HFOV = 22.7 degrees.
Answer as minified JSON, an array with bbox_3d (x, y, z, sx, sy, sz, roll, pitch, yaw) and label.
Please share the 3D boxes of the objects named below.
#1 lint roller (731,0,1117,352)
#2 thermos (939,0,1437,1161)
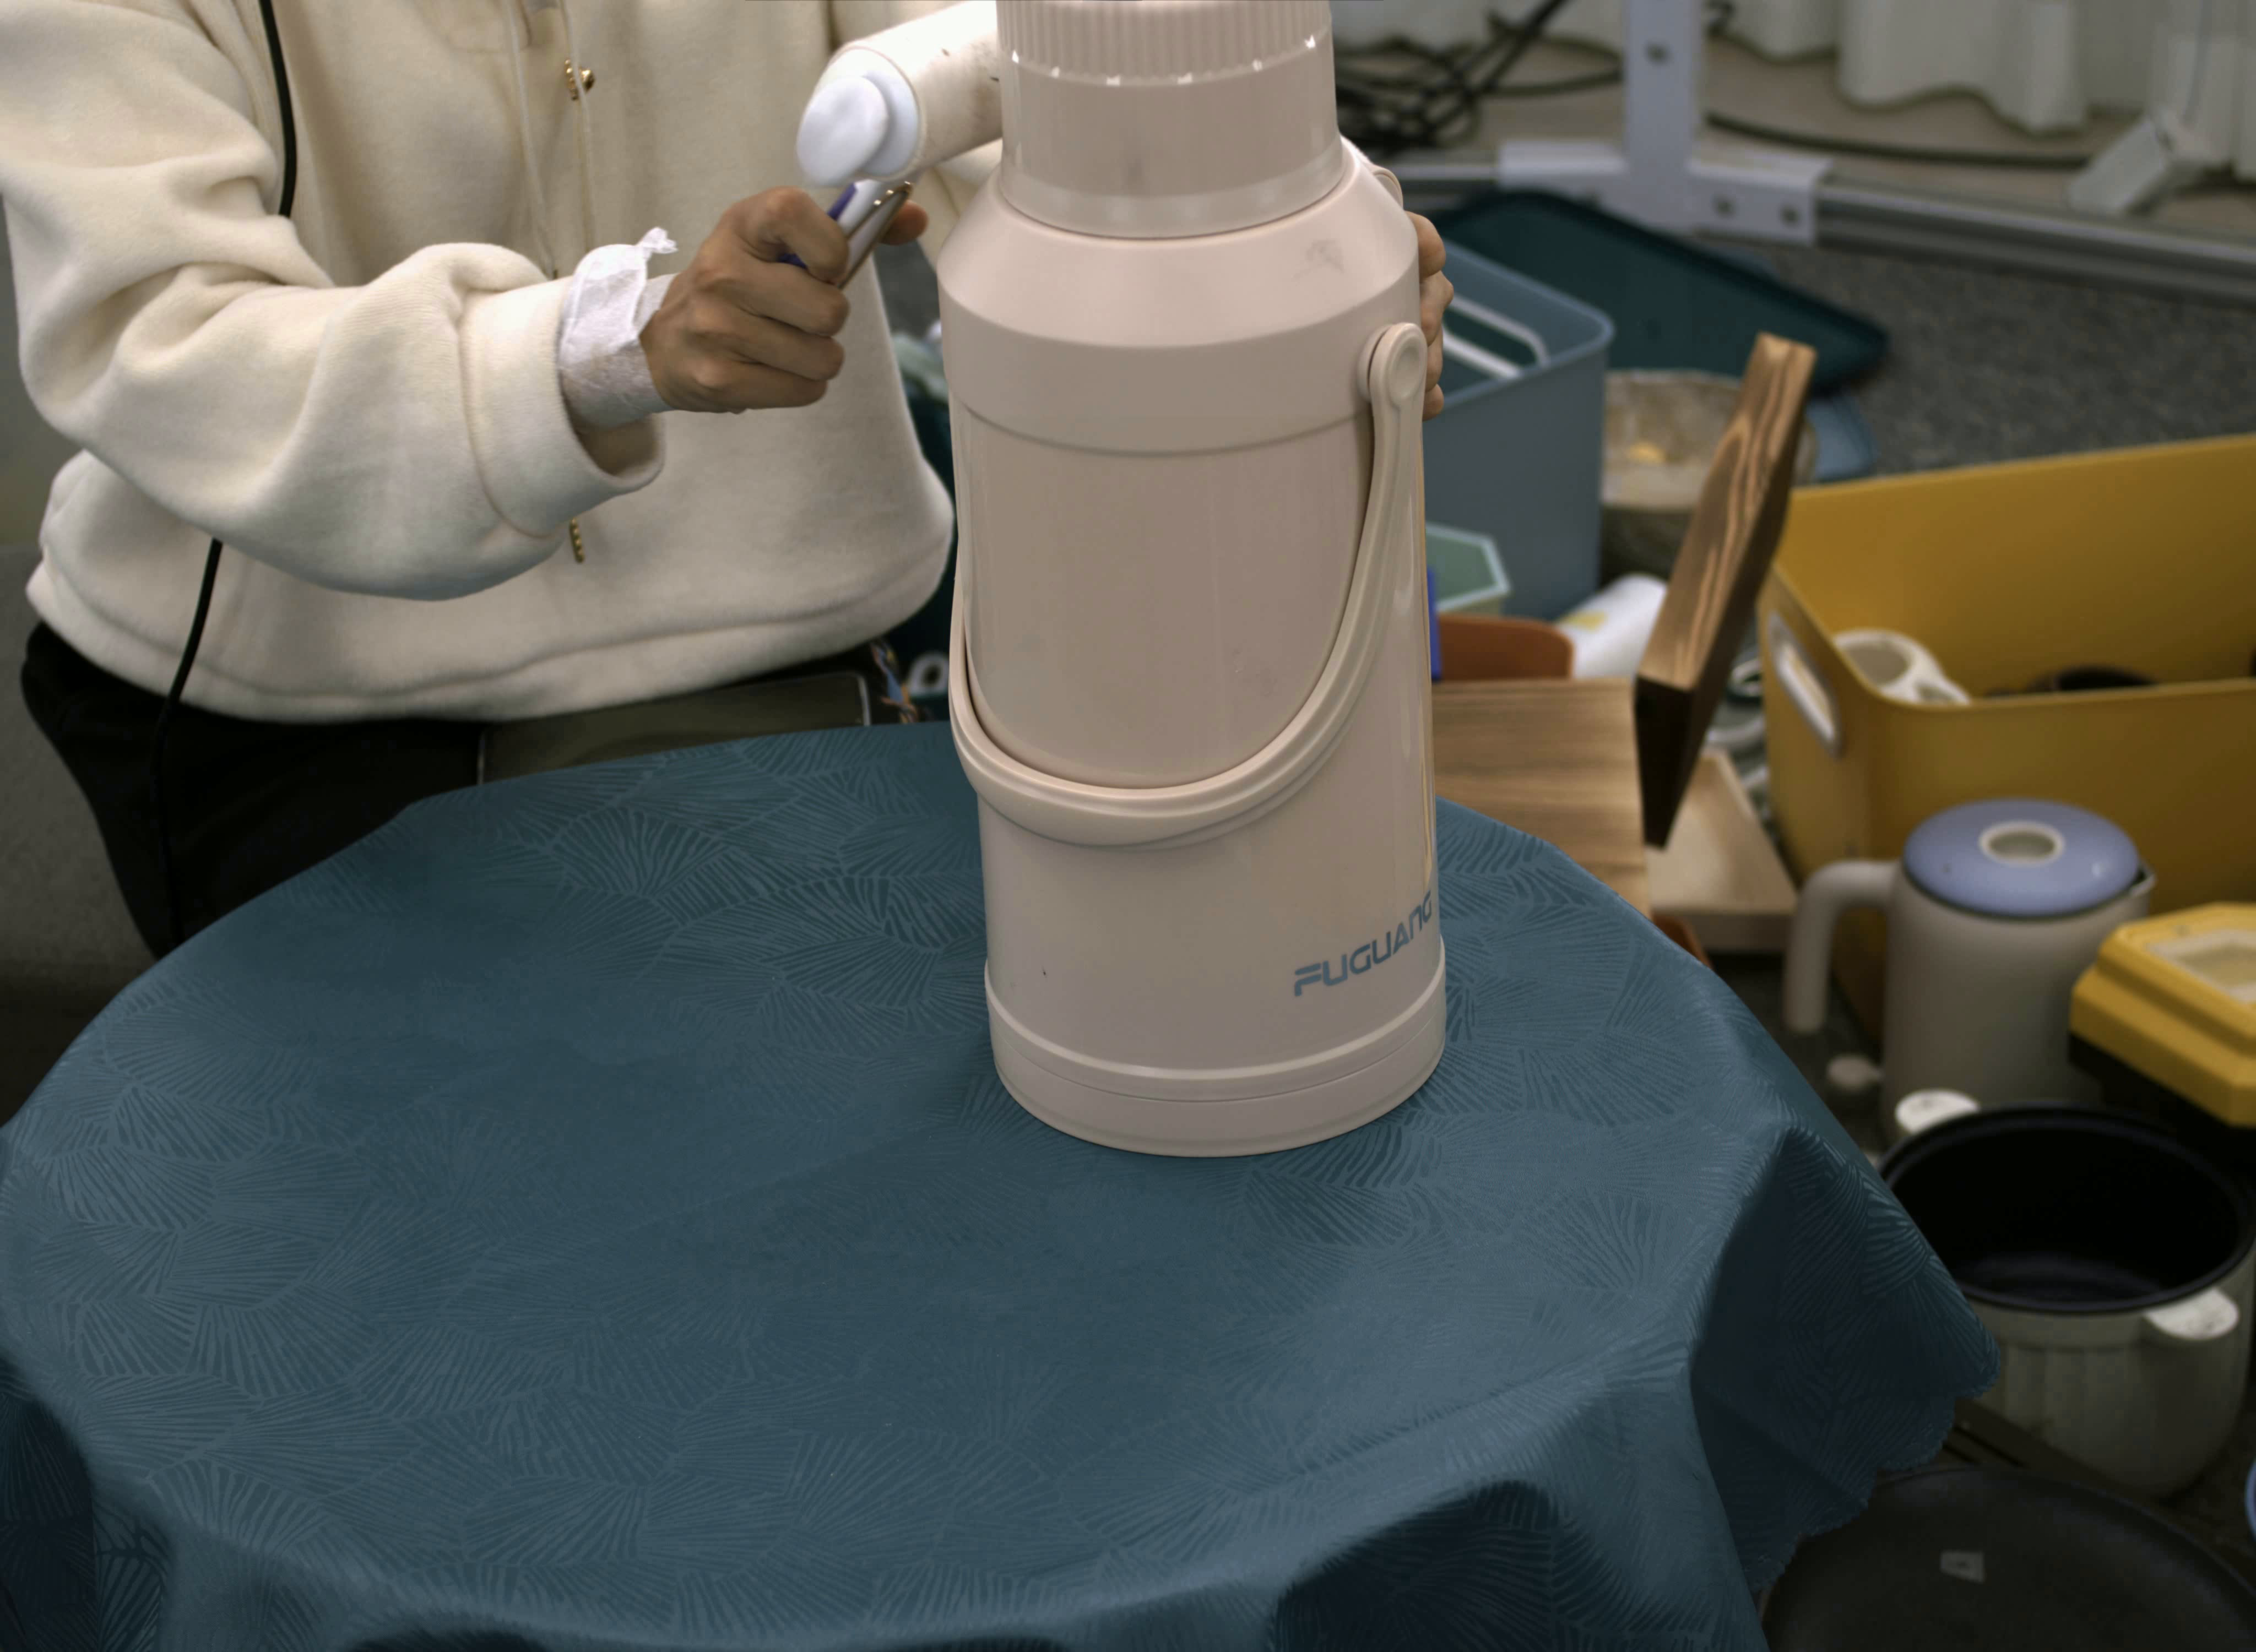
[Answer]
[{"bbox_3d":[-0.089,-0.222,1.904,0.135,0.050,0.178,-29,-4,-44],"label":"lint roller"},{"bbox_3d":[0.029,-0.105,1.871,0.174,0.402,0.210,14,31,32],"label":"thermos"}]
